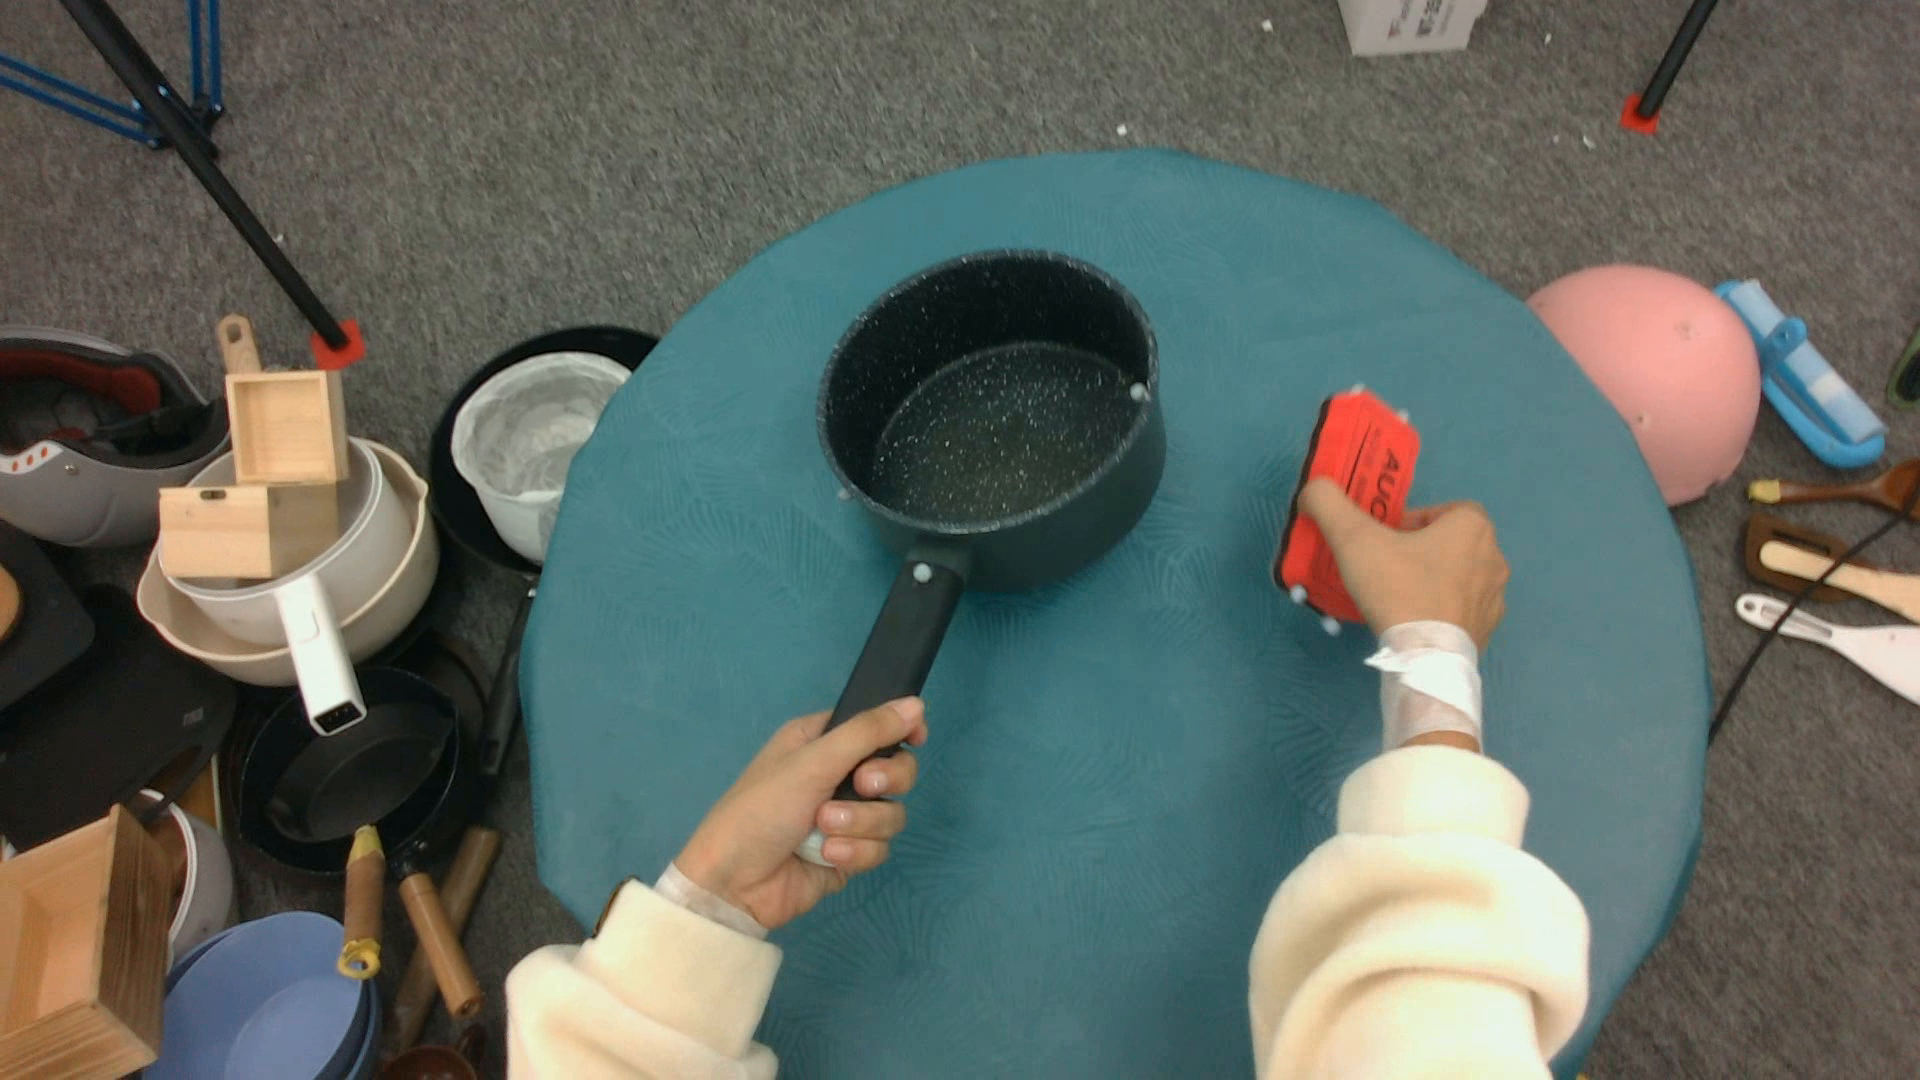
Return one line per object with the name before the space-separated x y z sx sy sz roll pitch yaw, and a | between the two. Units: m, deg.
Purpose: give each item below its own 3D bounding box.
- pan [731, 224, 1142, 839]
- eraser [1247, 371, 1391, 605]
pan | -0.017 -0.003 0.660 0.172 0.086 0.330 10 62 21
eraser | 0.179 -0.026 0.680 0.023 0.059 0.108 3 67 48
